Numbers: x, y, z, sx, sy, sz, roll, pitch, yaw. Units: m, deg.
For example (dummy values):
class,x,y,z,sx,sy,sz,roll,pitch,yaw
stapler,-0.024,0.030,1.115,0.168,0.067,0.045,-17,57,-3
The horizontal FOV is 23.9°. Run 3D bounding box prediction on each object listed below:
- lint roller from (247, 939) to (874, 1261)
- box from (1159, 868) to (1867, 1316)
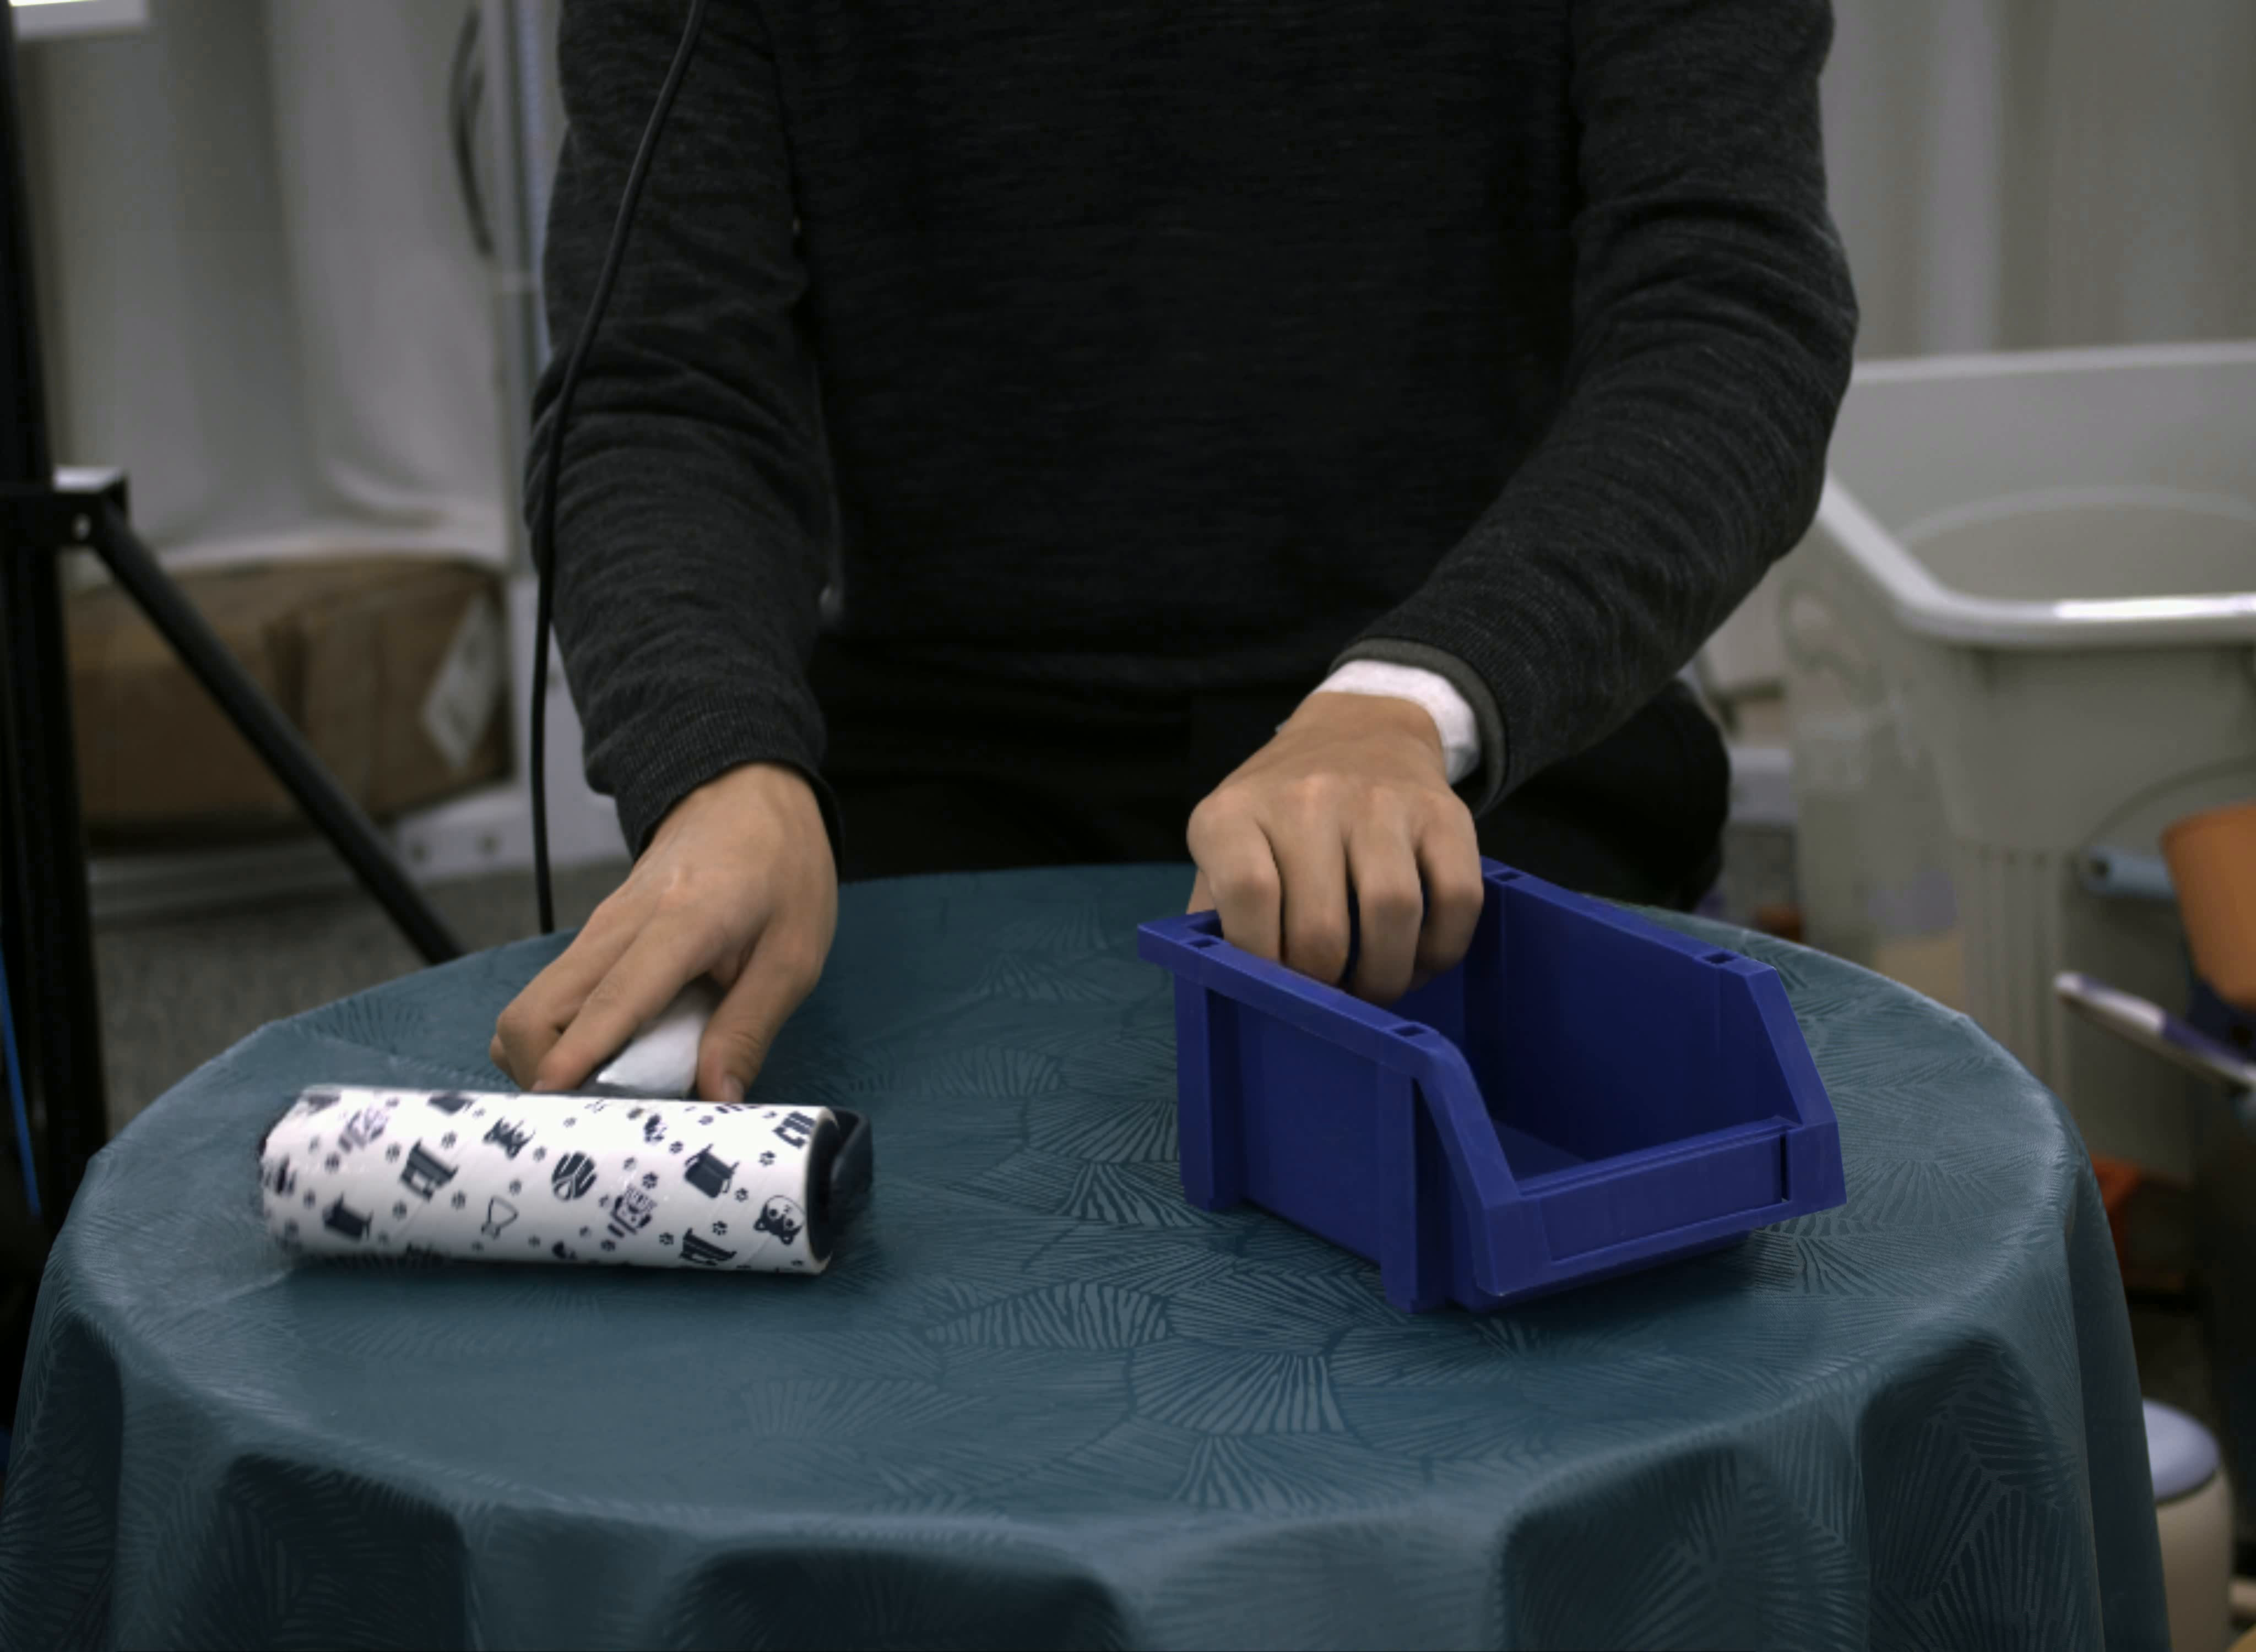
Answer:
class,x,y,z,sx,sy,sz,roll,pitch,yaw
lint roller,-0.147,0.071,1.615,0.177,0.050,0.246,2,16,10
box,0.108,0.077,1.499,0.122,0.082,0.183,-10,15,-28
